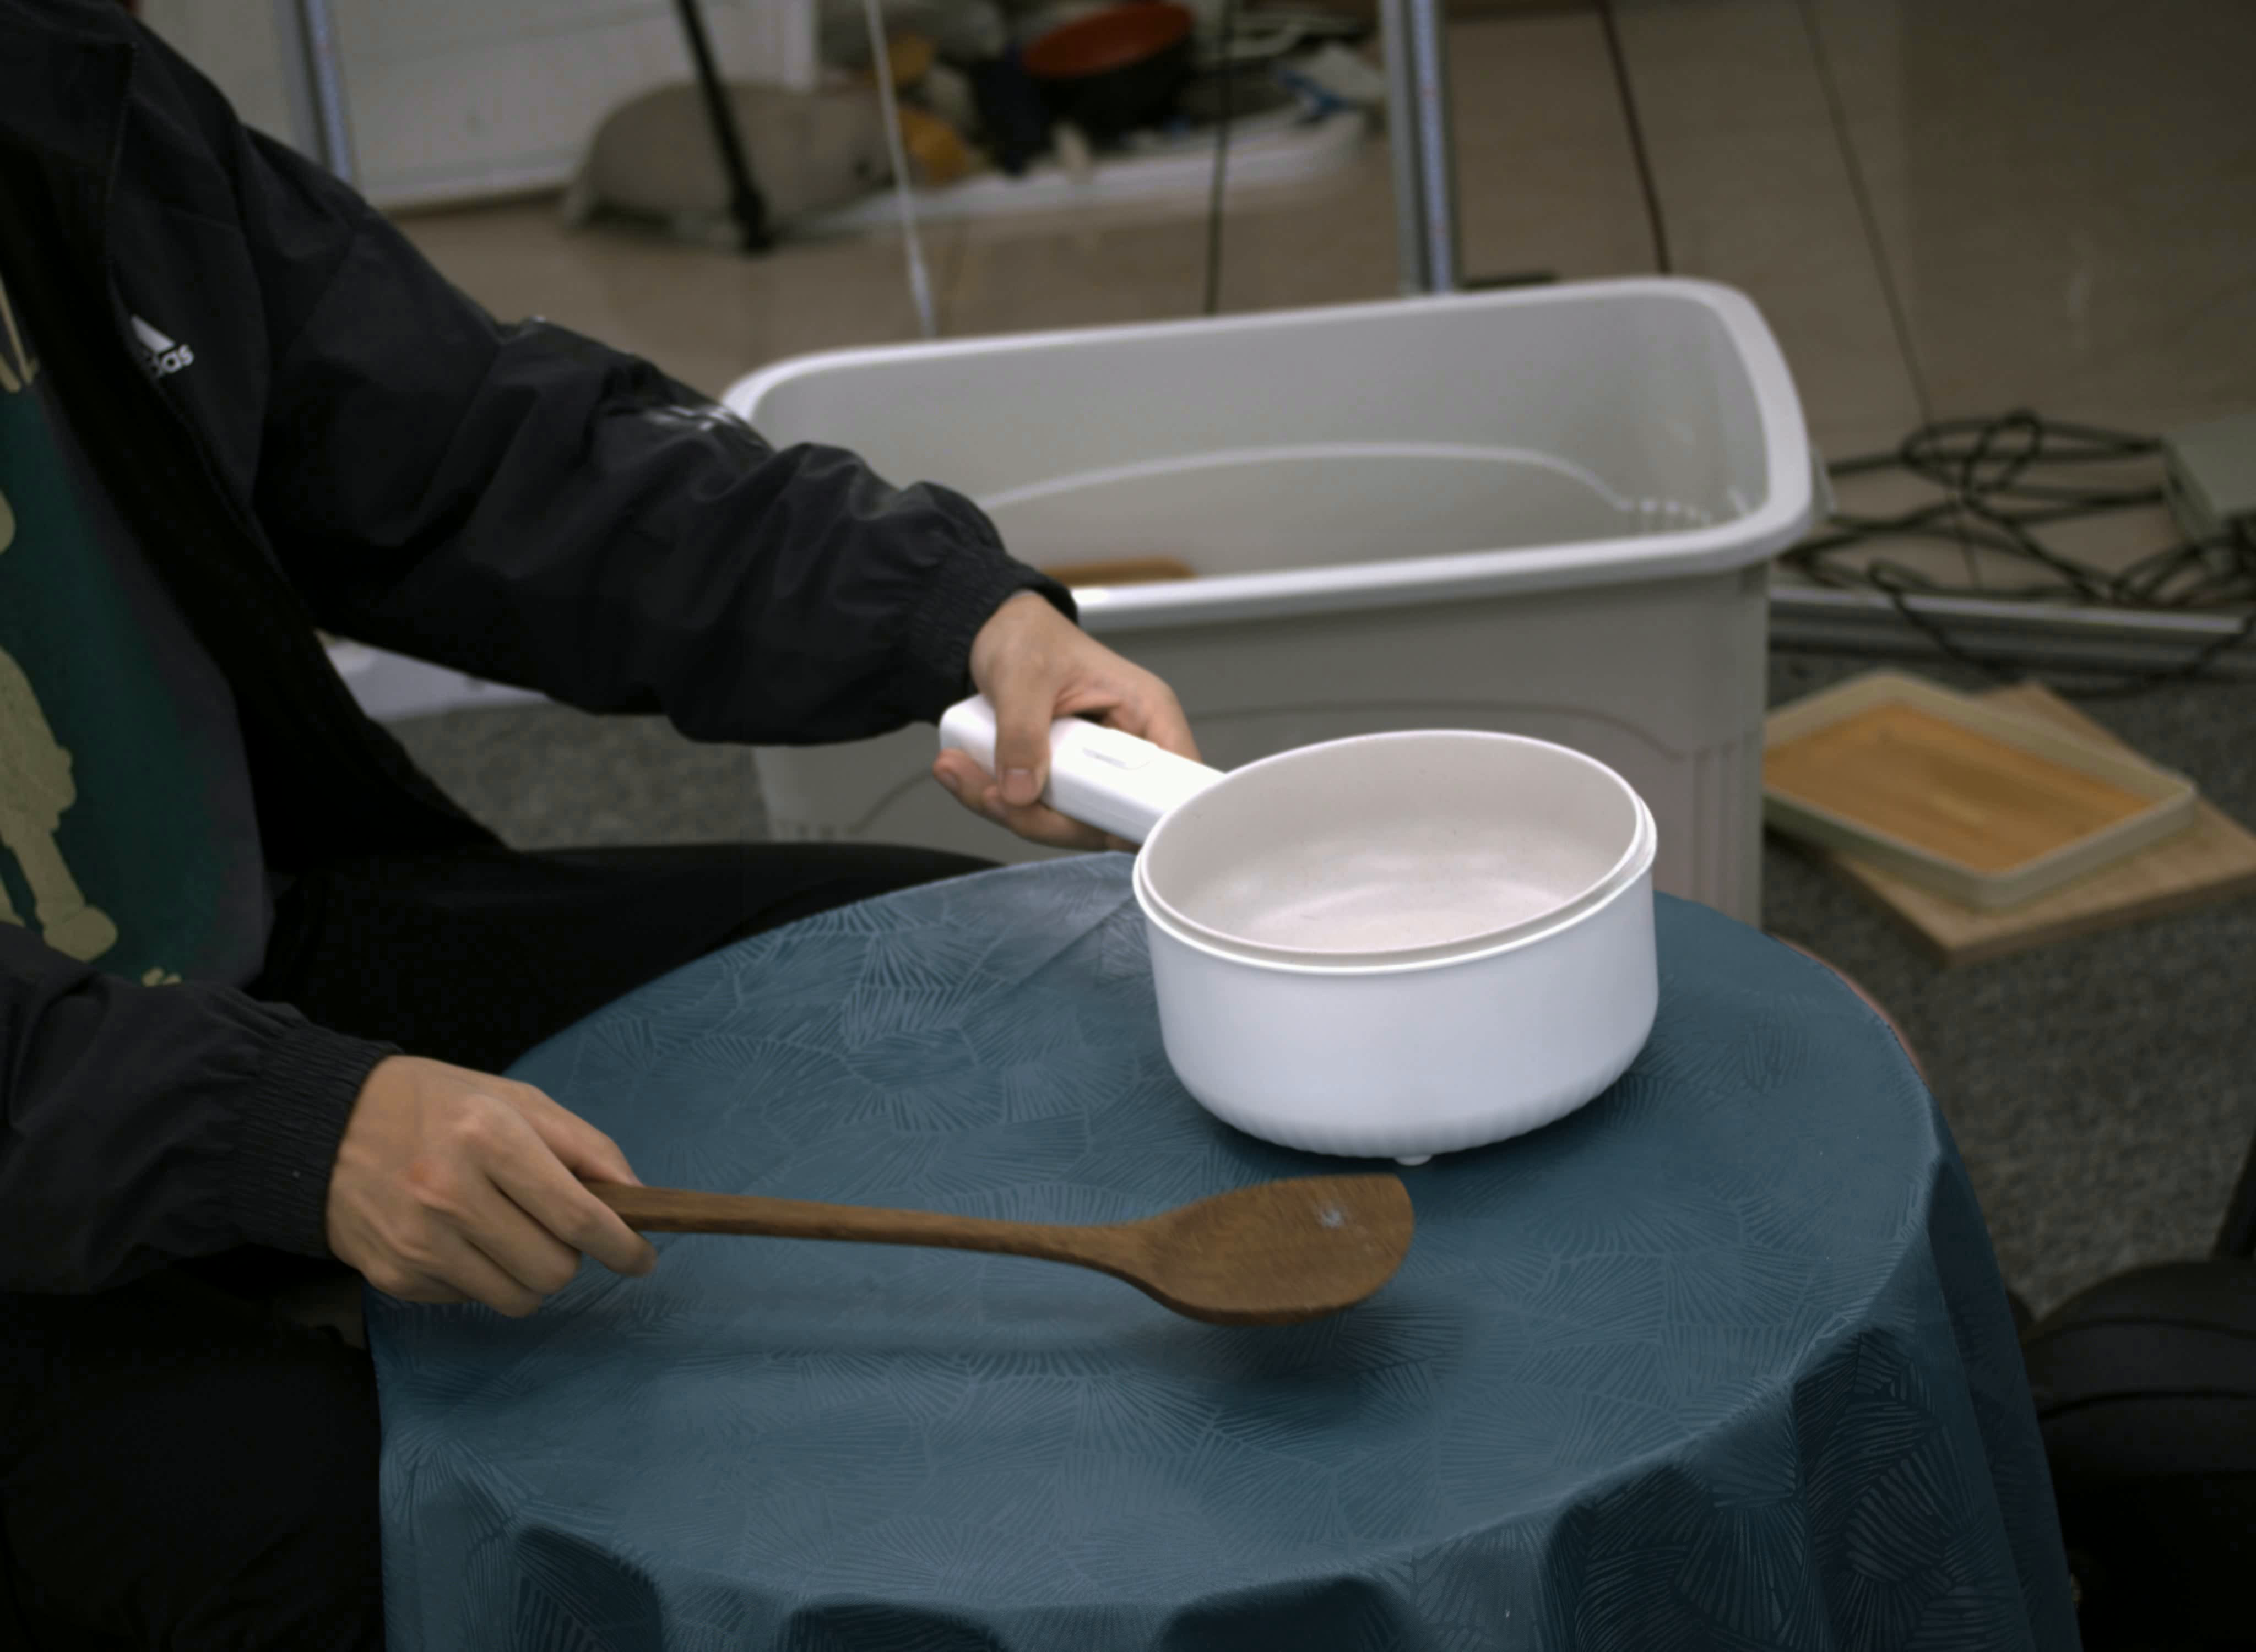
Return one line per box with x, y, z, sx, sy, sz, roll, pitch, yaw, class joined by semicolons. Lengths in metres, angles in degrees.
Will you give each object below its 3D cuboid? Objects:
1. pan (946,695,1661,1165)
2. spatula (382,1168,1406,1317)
0.057;0.032;2.245;0.199;0.104;0.352;-28;31;-34;pan
-0.090;0.143;2.053;0.385;0.016;0.094;2;28;14;spatula
